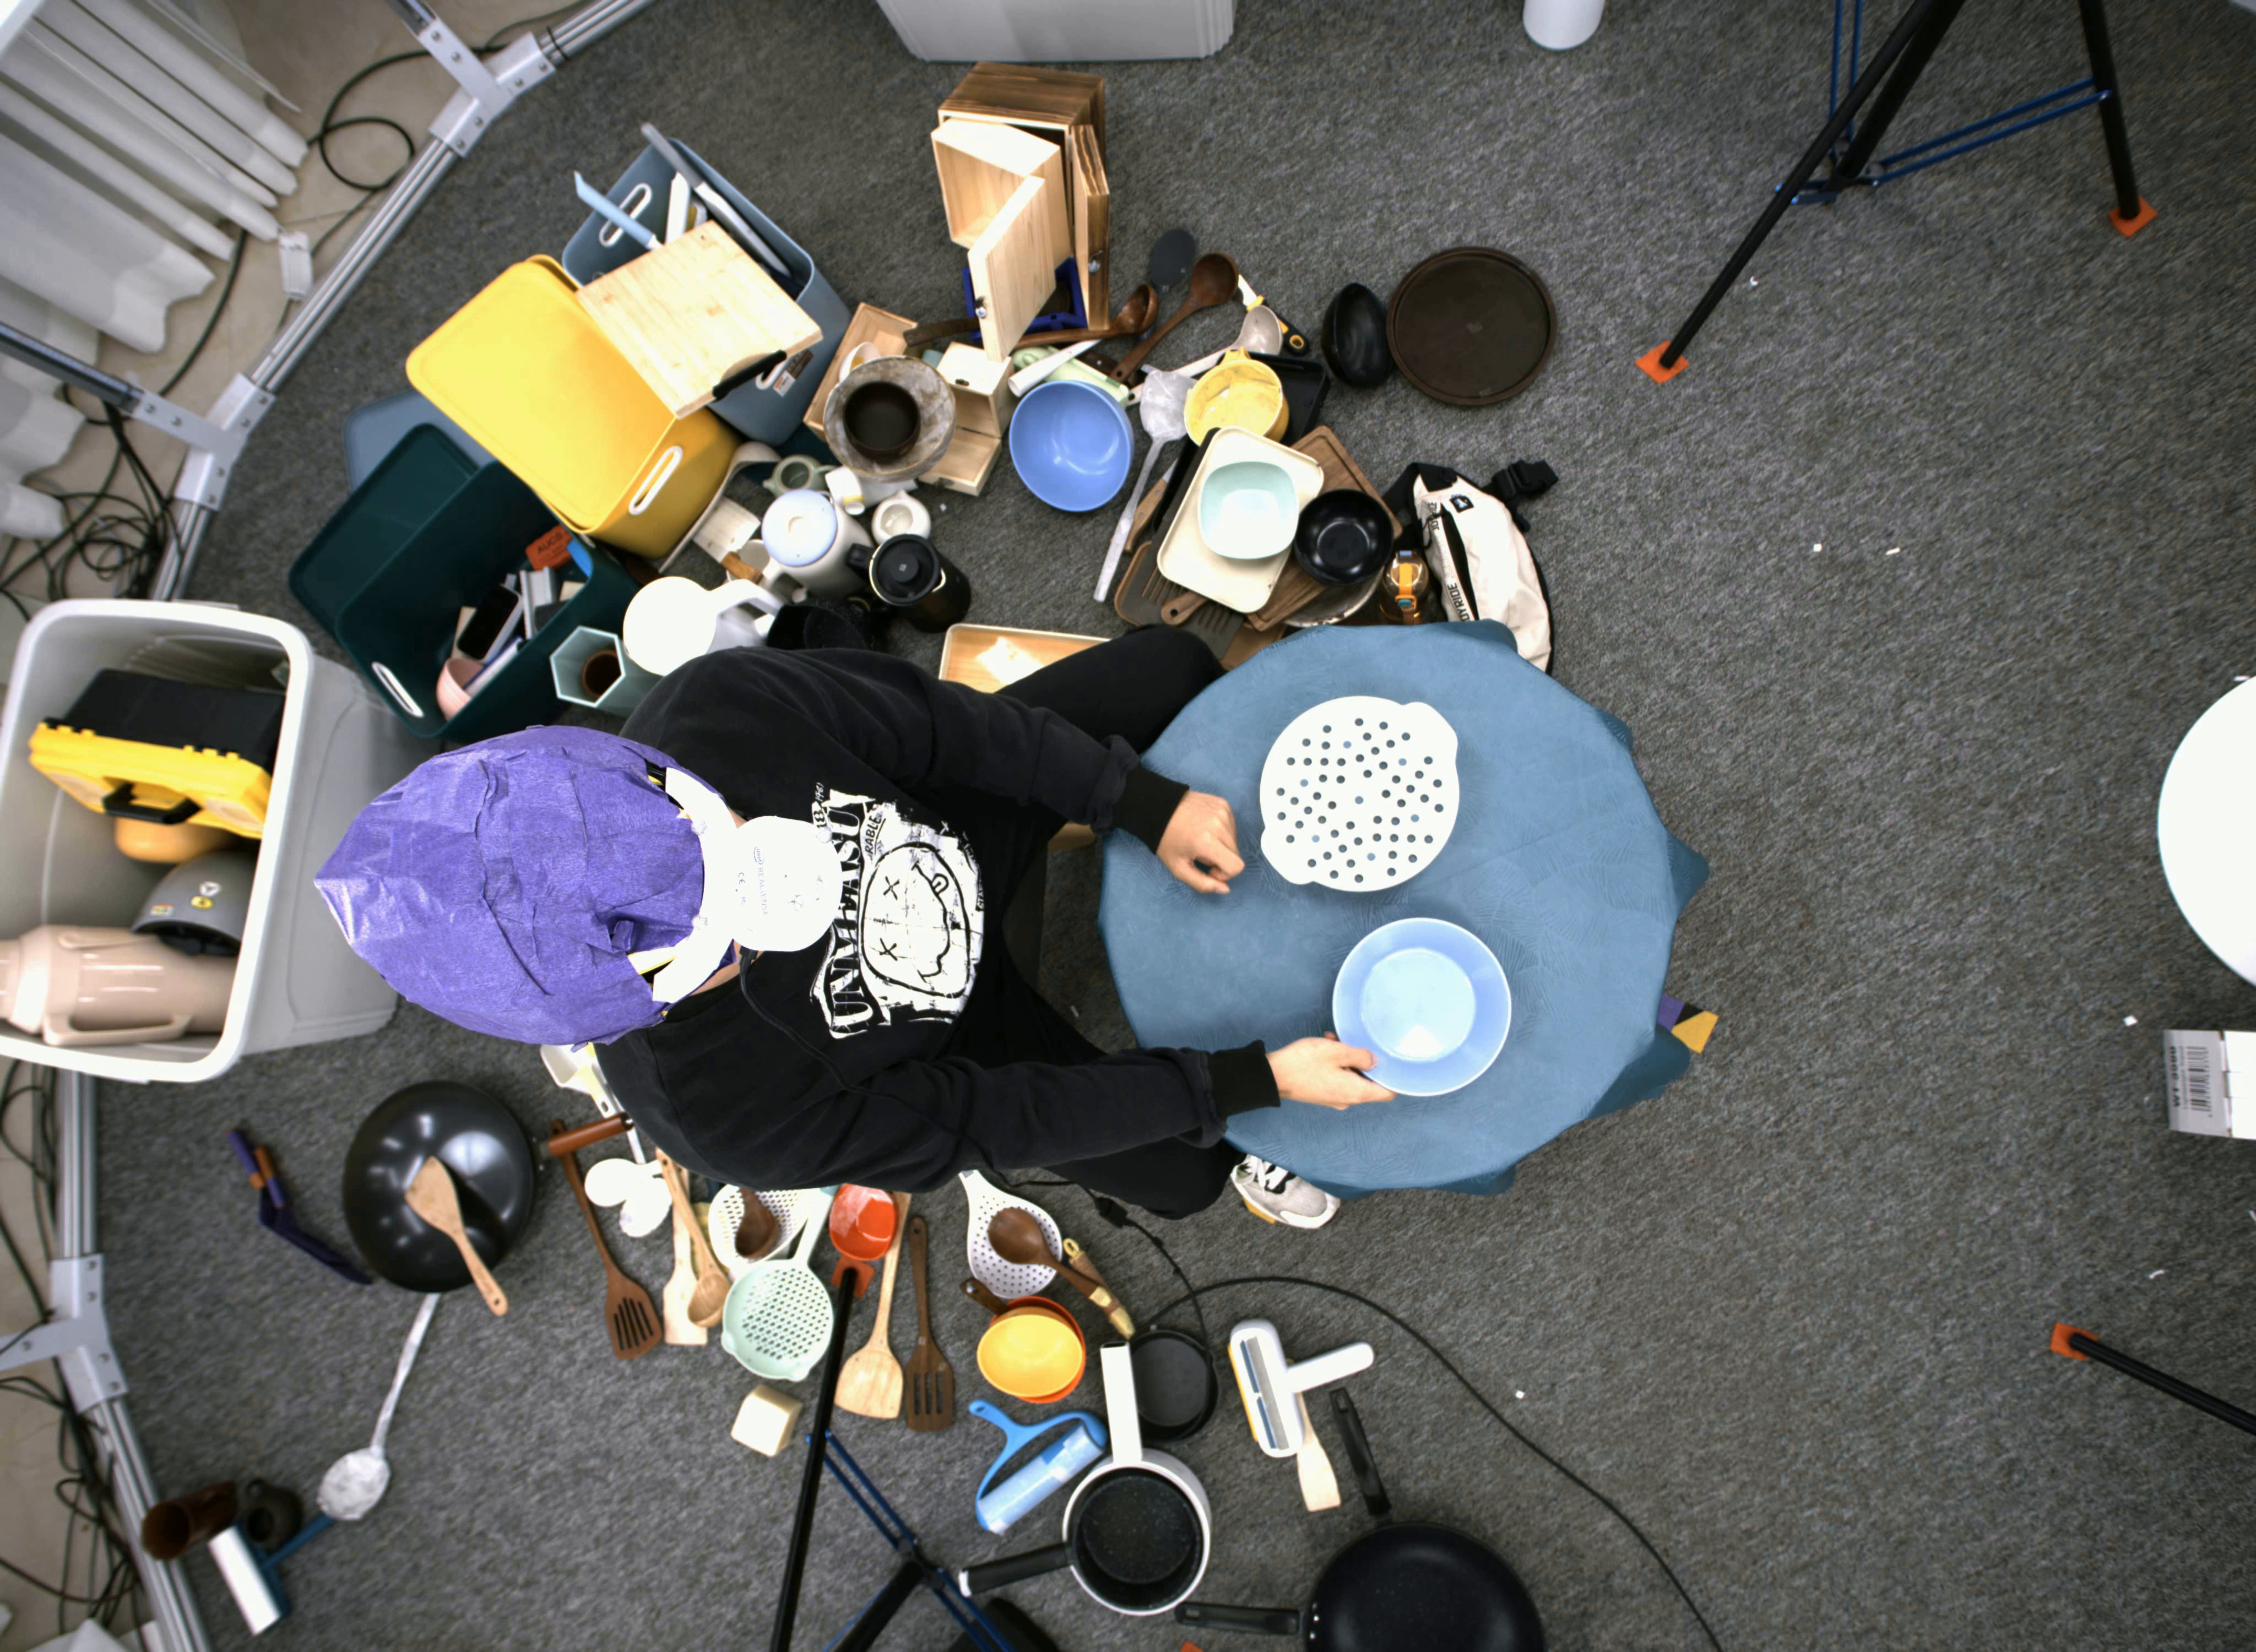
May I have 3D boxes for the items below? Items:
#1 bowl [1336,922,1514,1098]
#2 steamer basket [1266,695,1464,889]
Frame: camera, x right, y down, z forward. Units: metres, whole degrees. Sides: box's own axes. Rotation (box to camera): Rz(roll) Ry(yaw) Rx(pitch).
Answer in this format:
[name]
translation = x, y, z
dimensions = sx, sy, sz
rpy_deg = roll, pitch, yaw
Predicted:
[bowl]
translation = 0.301, 0.185, 1.408
dimensions = 0.177, 0.070, 0.175
rpy_deg = -1, 85, 9
[steamer basket]
translation = 0.246, -0.033, 1.441
dimensions = 0.231, 0.069, 0.201
rpy_deg = -42, 80, 3
